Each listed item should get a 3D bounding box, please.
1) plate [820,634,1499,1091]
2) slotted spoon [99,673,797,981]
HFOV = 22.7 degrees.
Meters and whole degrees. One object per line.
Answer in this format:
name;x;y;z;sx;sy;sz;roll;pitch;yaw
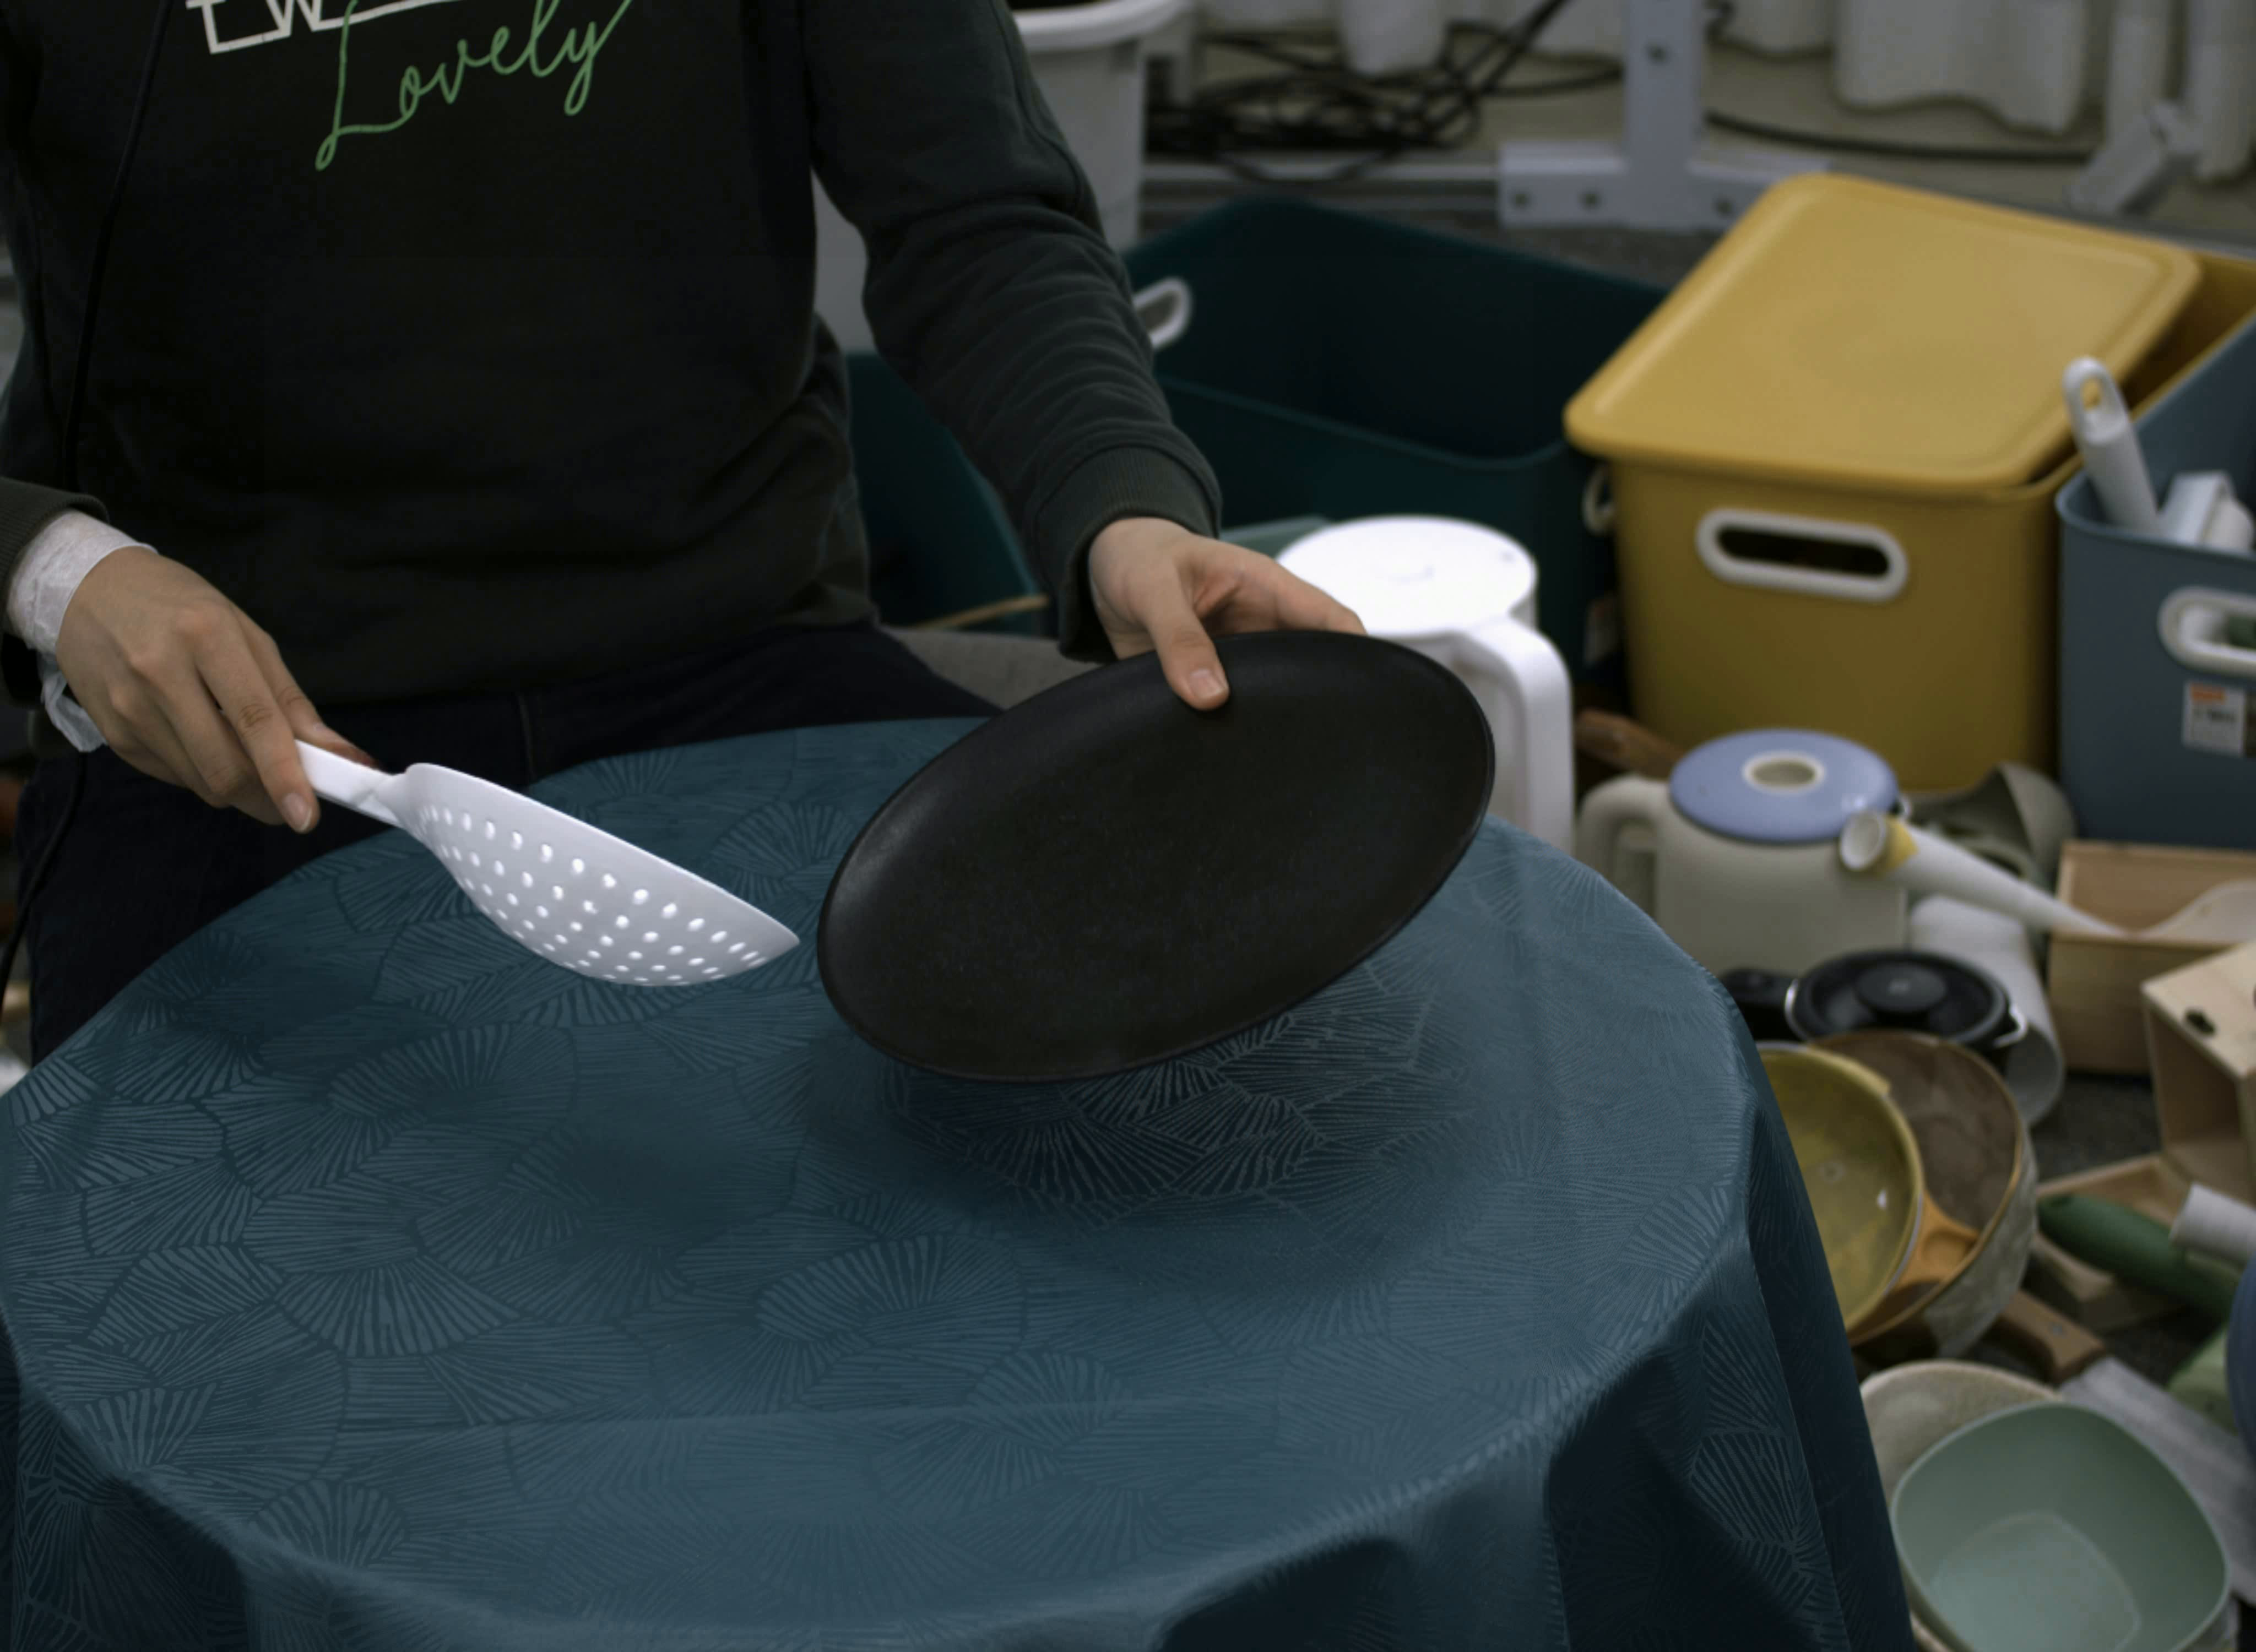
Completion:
plate;0.012;0.016;1.906;0.242;0.023;0.249;-15;32;10
slotted spoon;-0.244;-0.009;1.895;0.349;0.046;0.135;24;-7;46
